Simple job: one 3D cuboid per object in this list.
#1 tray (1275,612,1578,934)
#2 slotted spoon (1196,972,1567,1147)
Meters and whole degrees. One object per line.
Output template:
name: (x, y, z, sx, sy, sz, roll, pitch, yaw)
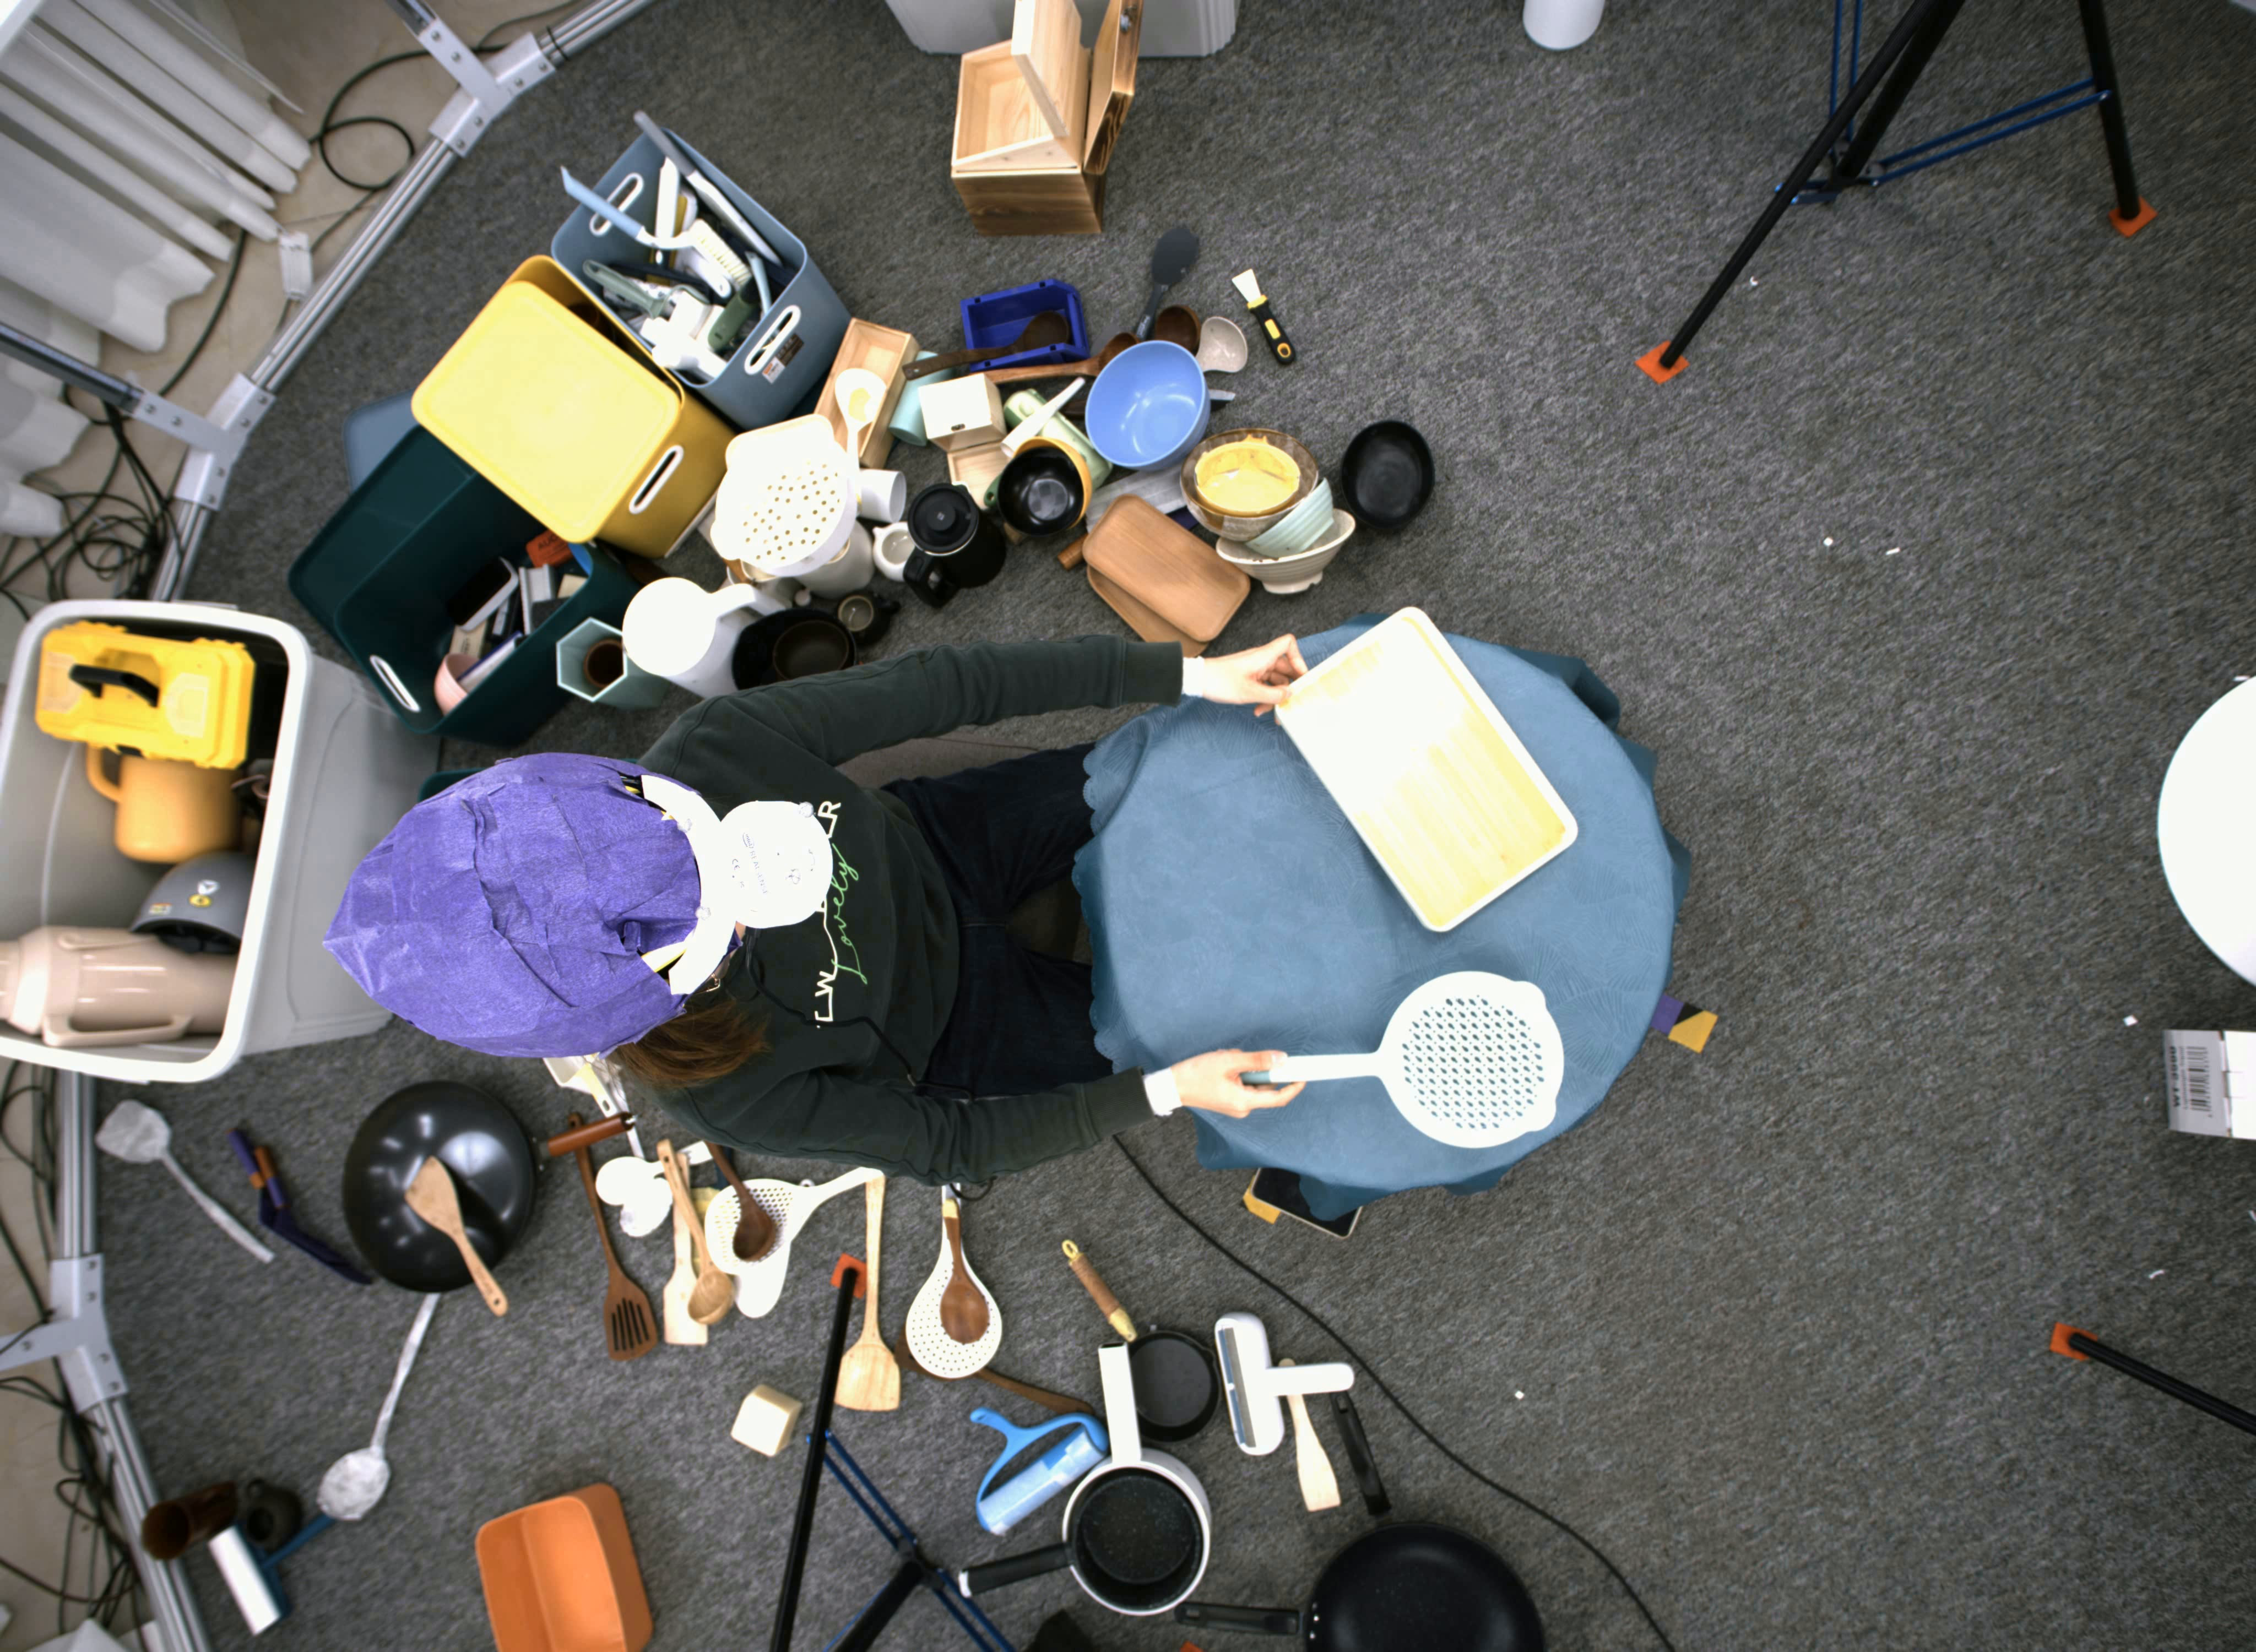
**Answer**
tray: (0.309, -0.058, 1.430, 0.191, 0.027, 0.299, -34, 84, -3)
slotted spoon: (0.245, 0.235, 1.371, 0.360, 0.076, 0.167, -3, 74, 7)
